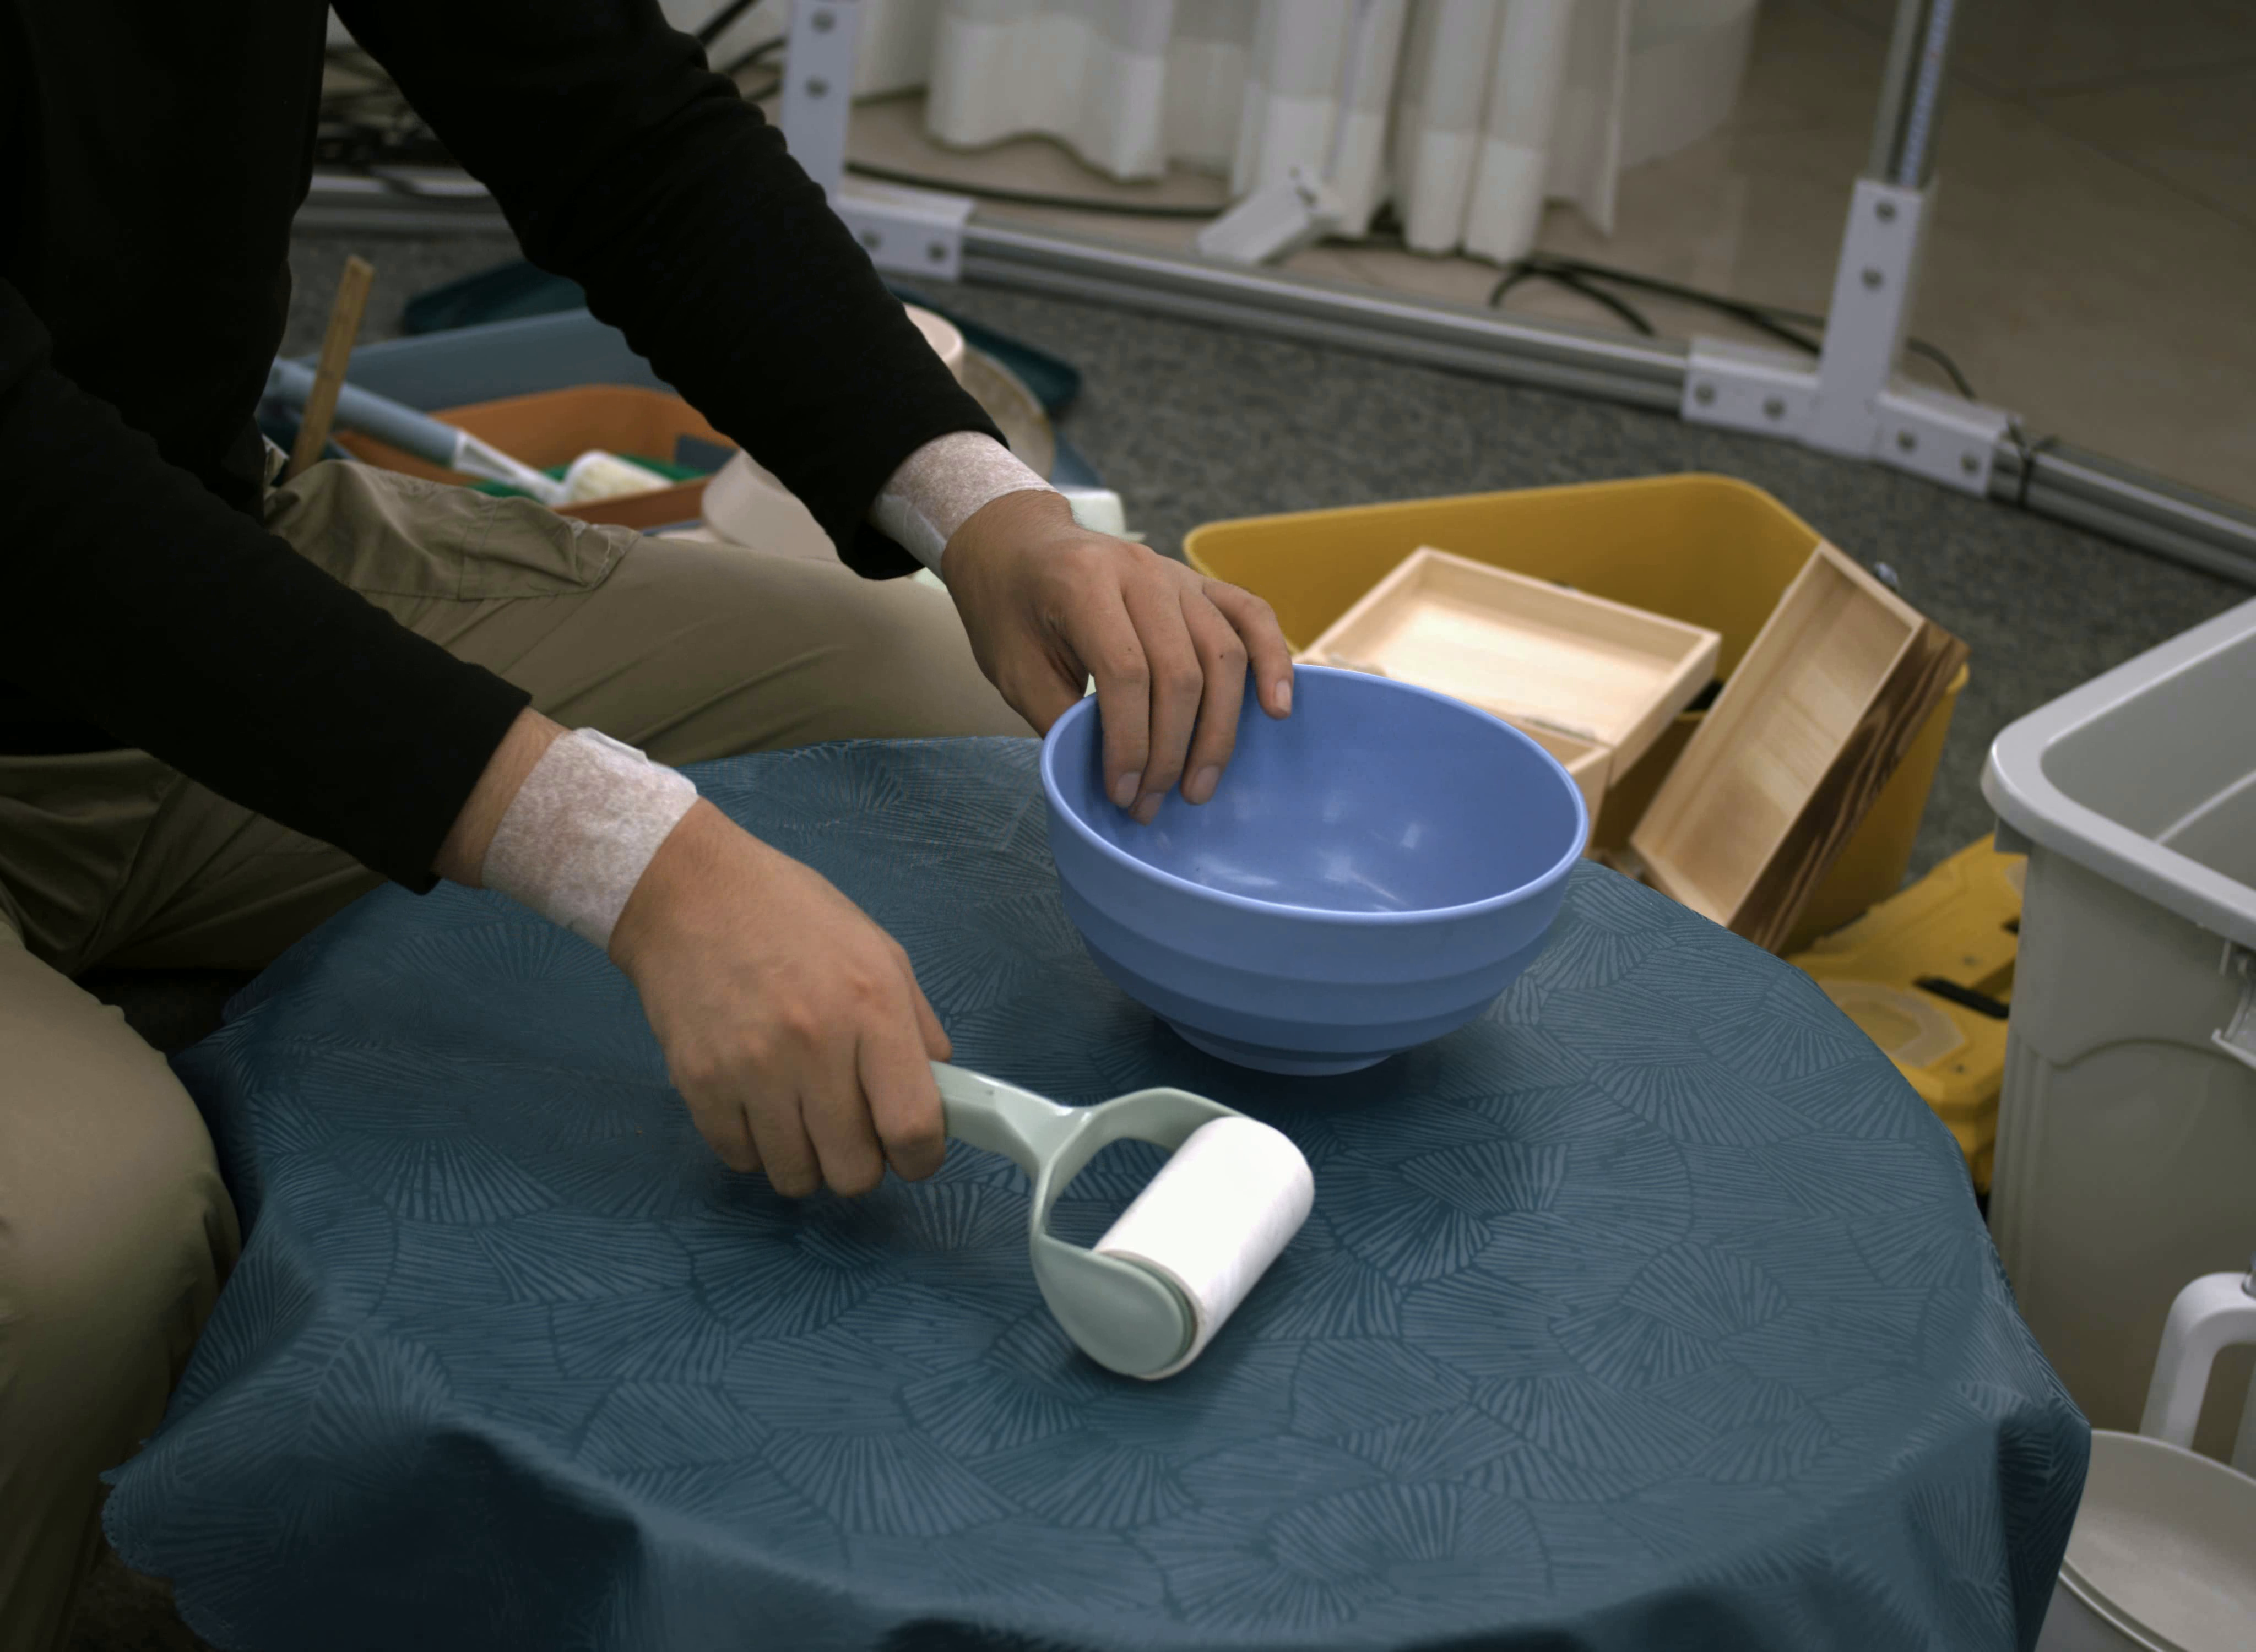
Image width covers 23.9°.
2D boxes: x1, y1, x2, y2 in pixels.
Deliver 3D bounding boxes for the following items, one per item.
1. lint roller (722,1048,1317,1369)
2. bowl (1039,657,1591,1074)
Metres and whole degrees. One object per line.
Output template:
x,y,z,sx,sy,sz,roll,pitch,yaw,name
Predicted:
-0.042,0.105,1.755,0.198,0.048,0.116,24,32,14,lint roller
0.062,0.025,1.903,0.196,0.095,0.198,5,28,-3,bowl
